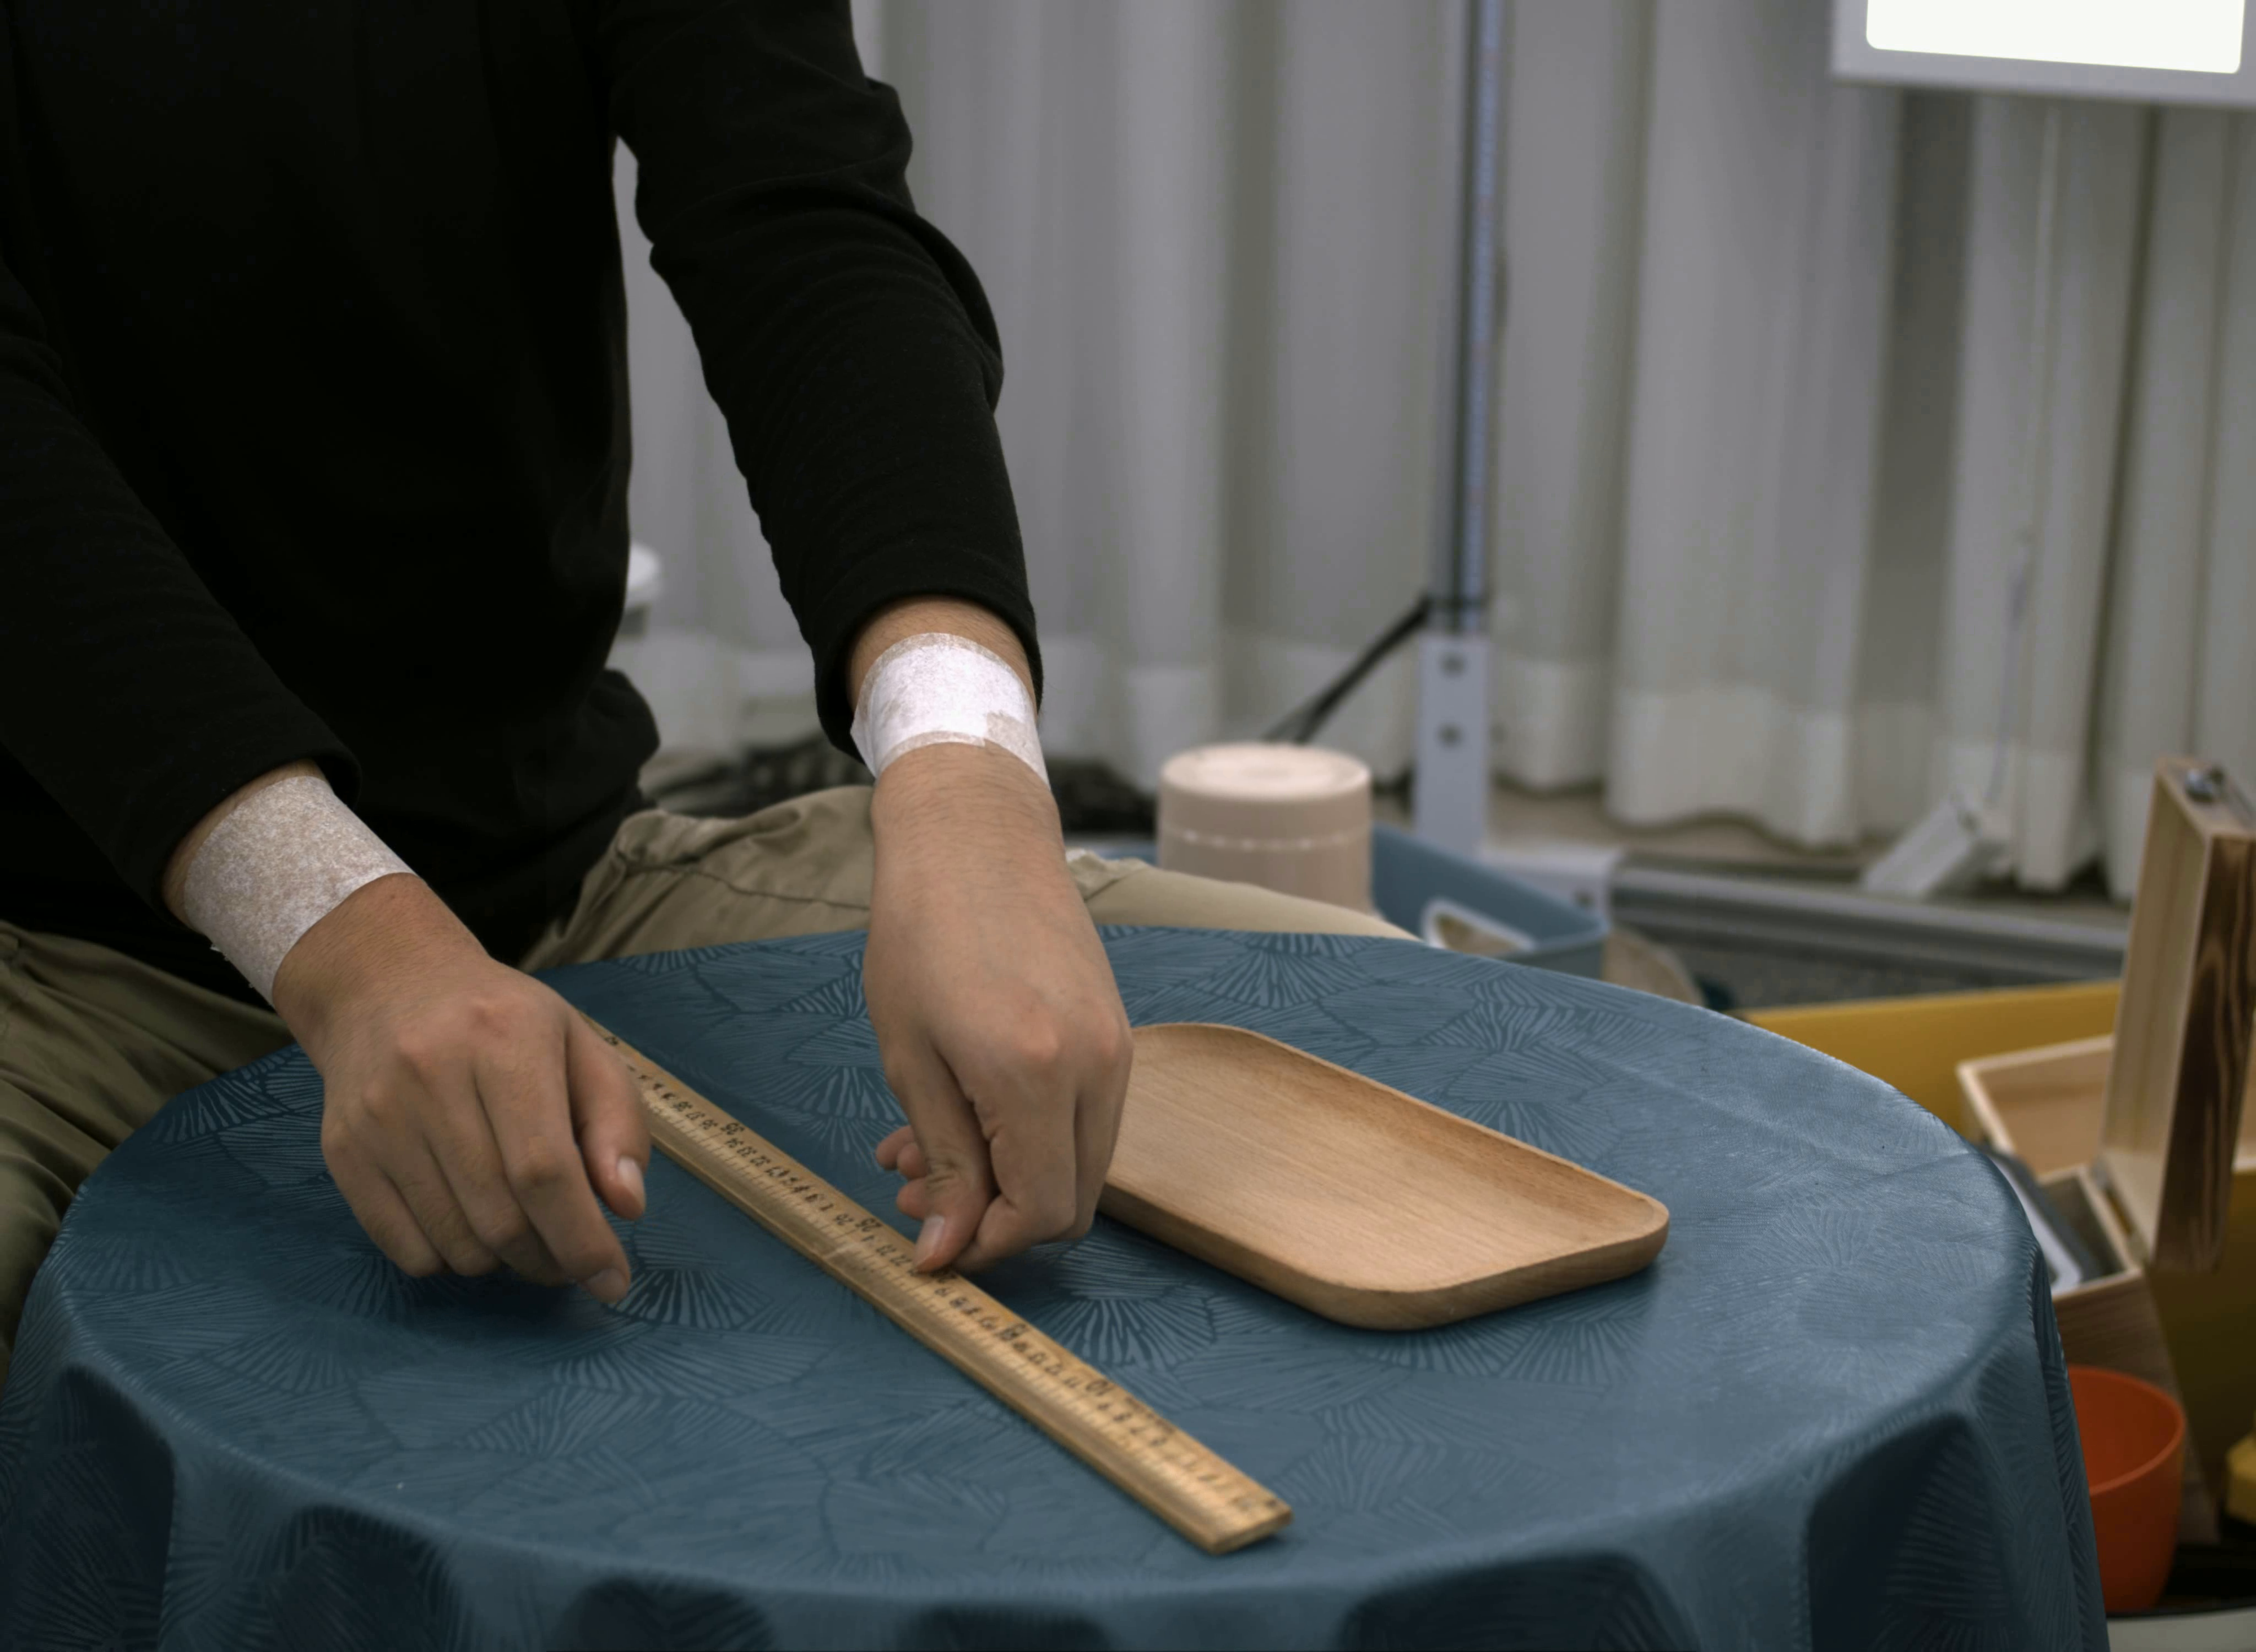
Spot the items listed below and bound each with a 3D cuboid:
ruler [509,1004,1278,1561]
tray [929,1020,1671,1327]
[{"bbox_3d":[-0.084,0.123,1.560,0.027,0.006,0.494,-18,22,-23],"label":"ruler"},{"bbox_3d":[0.049,0.104,1.620,0.131,0.023,0.247,-7,16,-34],"label":"tray"}]
